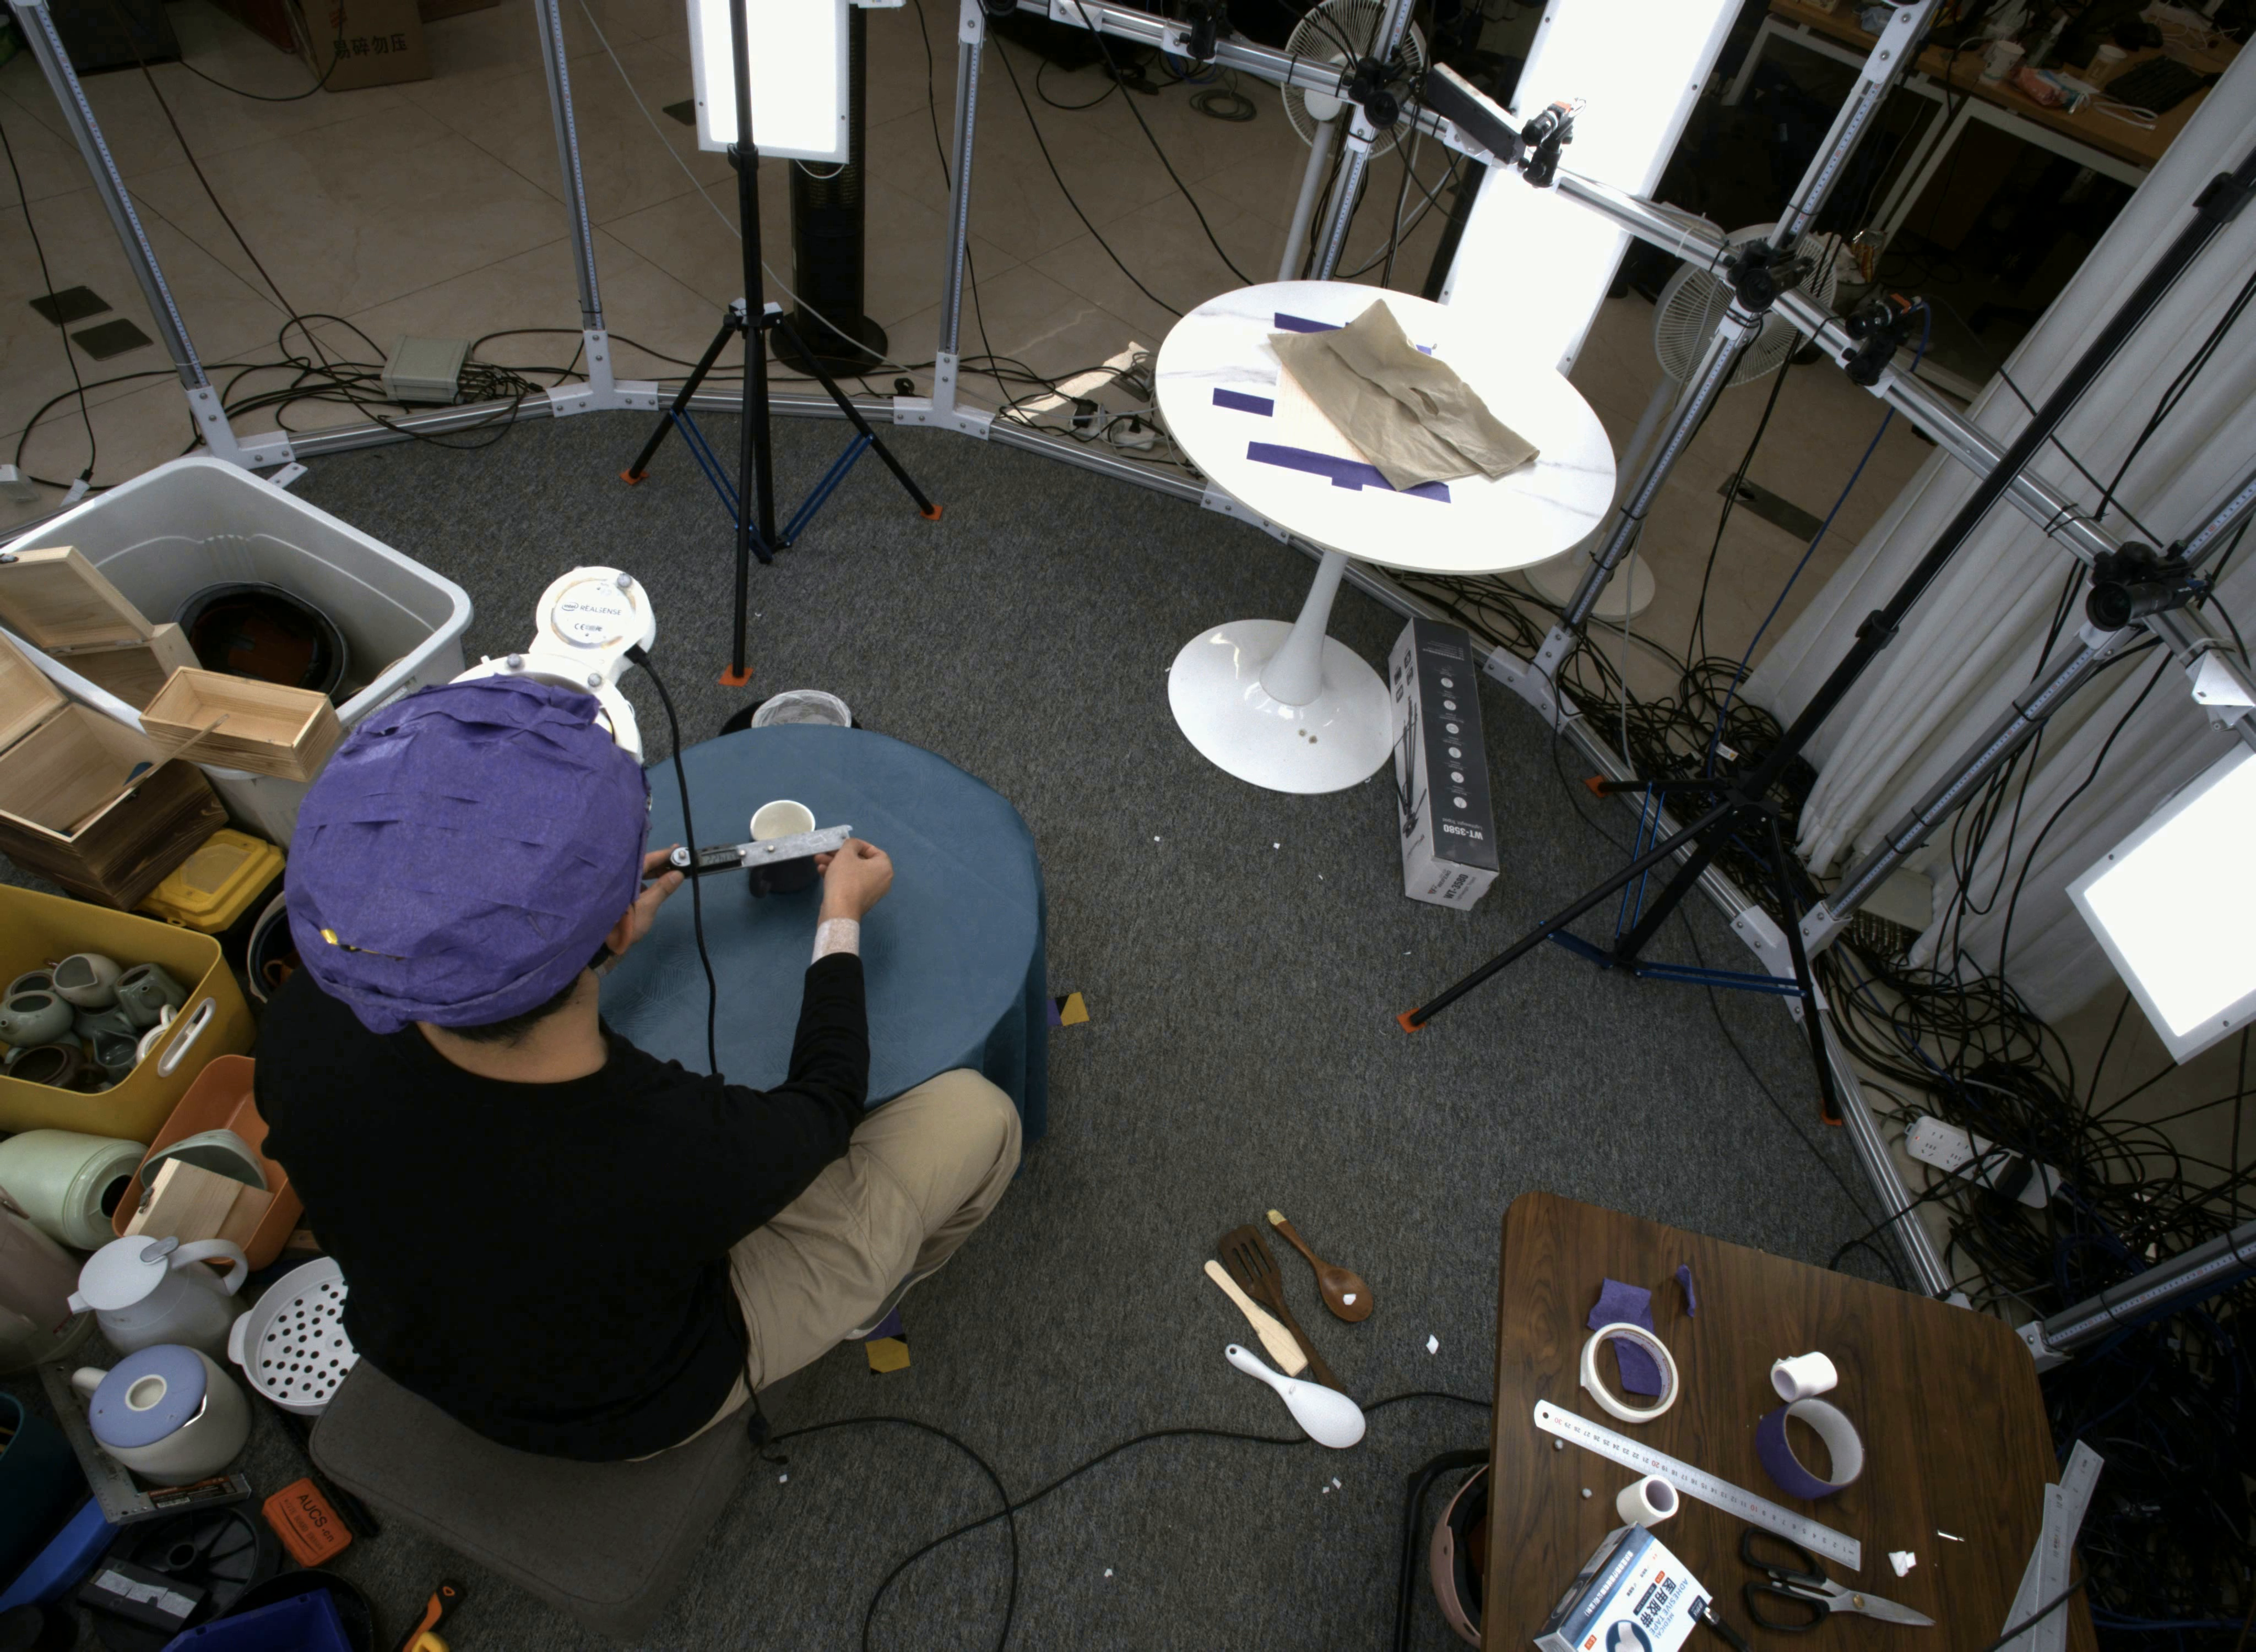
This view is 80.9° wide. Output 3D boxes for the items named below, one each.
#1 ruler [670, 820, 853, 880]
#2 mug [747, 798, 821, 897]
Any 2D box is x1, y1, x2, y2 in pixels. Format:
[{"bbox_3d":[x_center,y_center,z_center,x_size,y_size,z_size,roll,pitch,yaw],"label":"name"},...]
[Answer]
[{"bbox_3d":[-0.443,0.024,1.564,0.219,0.024,0.037,-12,62,-20],"label":"ruler"},{"bbox_3d":[-0.442,0.033,1.629,0.092,0.092,0.122,22,50,6],"label":"mug"}]
